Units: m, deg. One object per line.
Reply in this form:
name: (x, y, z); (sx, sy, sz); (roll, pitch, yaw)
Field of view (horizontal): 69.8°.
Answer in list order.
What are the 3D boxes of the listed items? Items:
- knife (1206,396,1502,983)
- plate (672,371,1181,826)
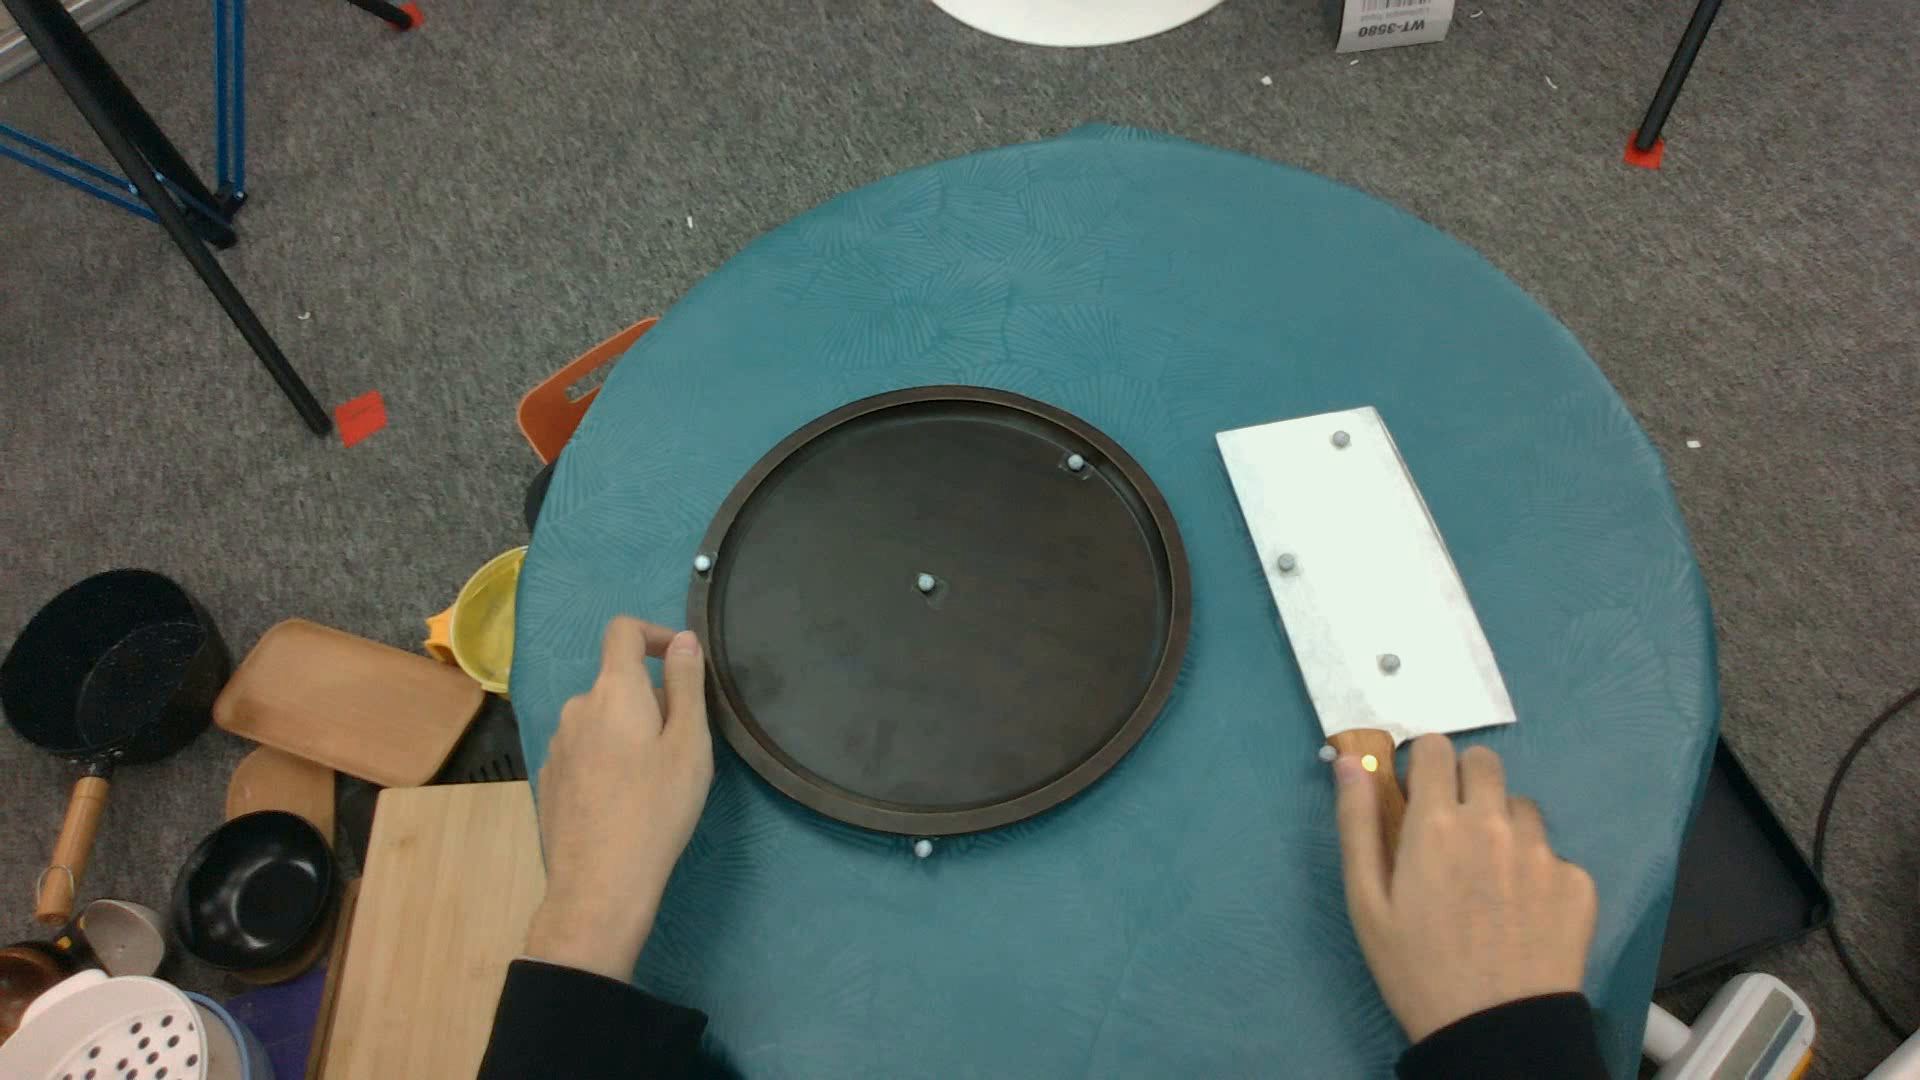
knife: (0.203, 0.052, 0.660); (0.093, 0.021, 0.307); (-11, 57, -4)
plate: (-0.017, 0.021, 0.689); (0.254, 0.029, 0.256); (-3, 59, 4)
